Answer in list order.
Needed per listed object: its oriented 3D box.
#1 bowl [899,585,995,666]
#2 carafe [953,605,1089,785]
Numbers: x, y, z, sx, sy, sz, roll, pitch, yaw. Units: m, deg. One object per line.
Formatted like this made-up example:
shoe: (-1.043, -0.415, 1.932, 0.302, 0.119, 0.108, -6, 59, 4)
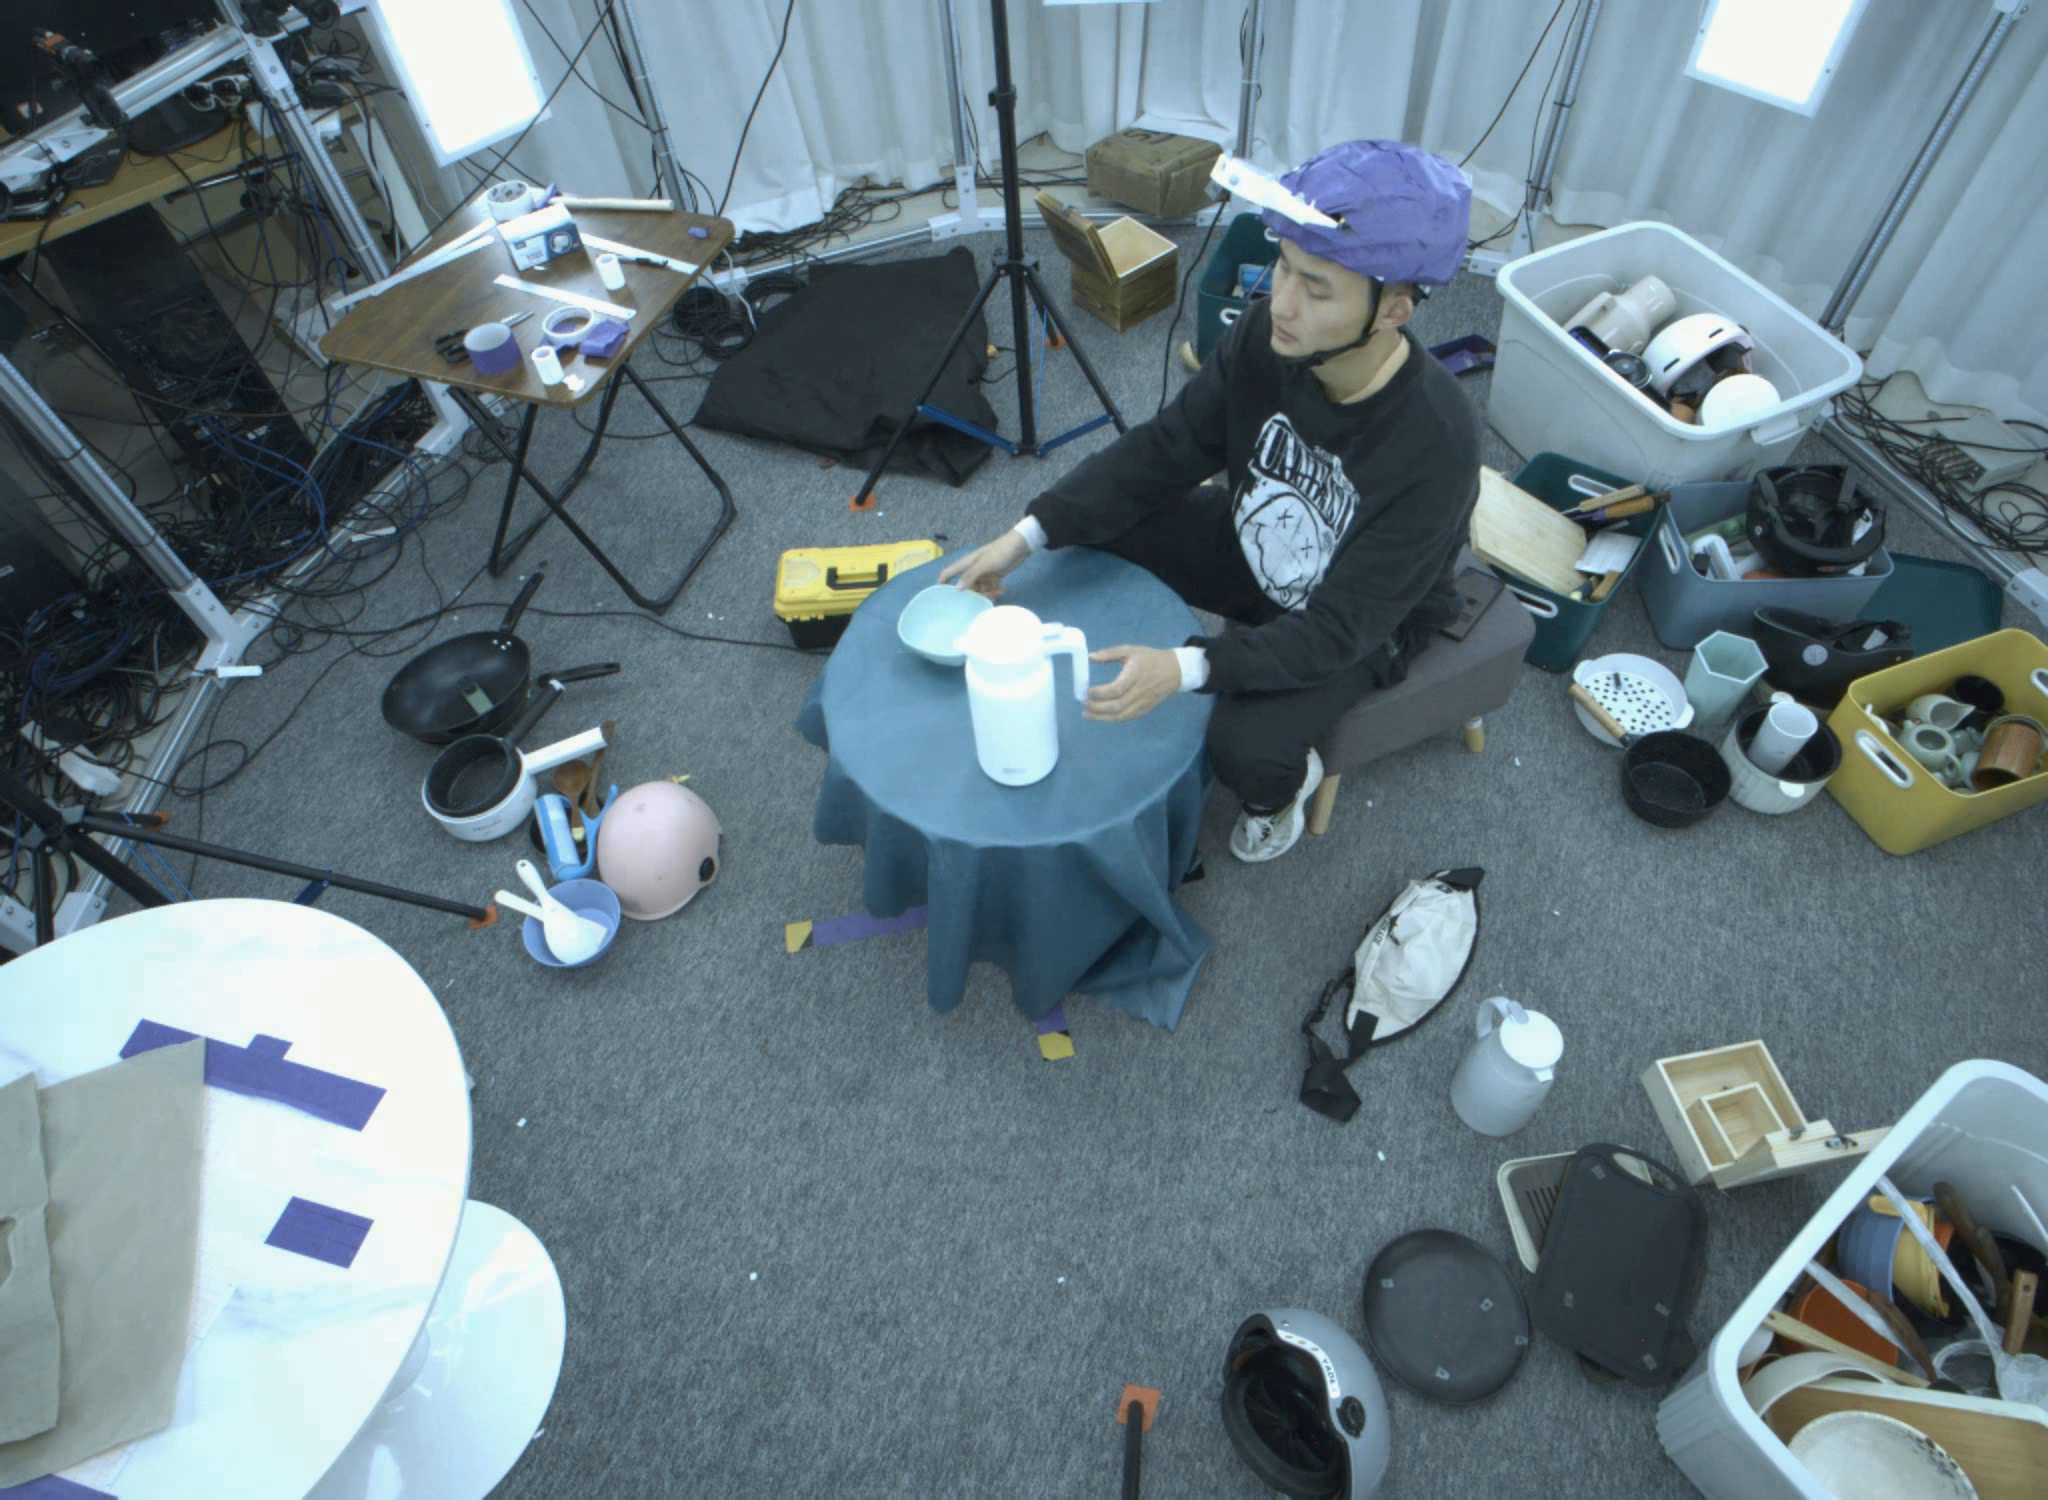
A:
bowl: (-0.116, -0.181, 1.884, 0.151, 0.059, 0.150, 0, 55, 2)
carafe: (0.001, -0.074, 1.671, 0.173, 0.272, 0.122, -9, 52, -2)
